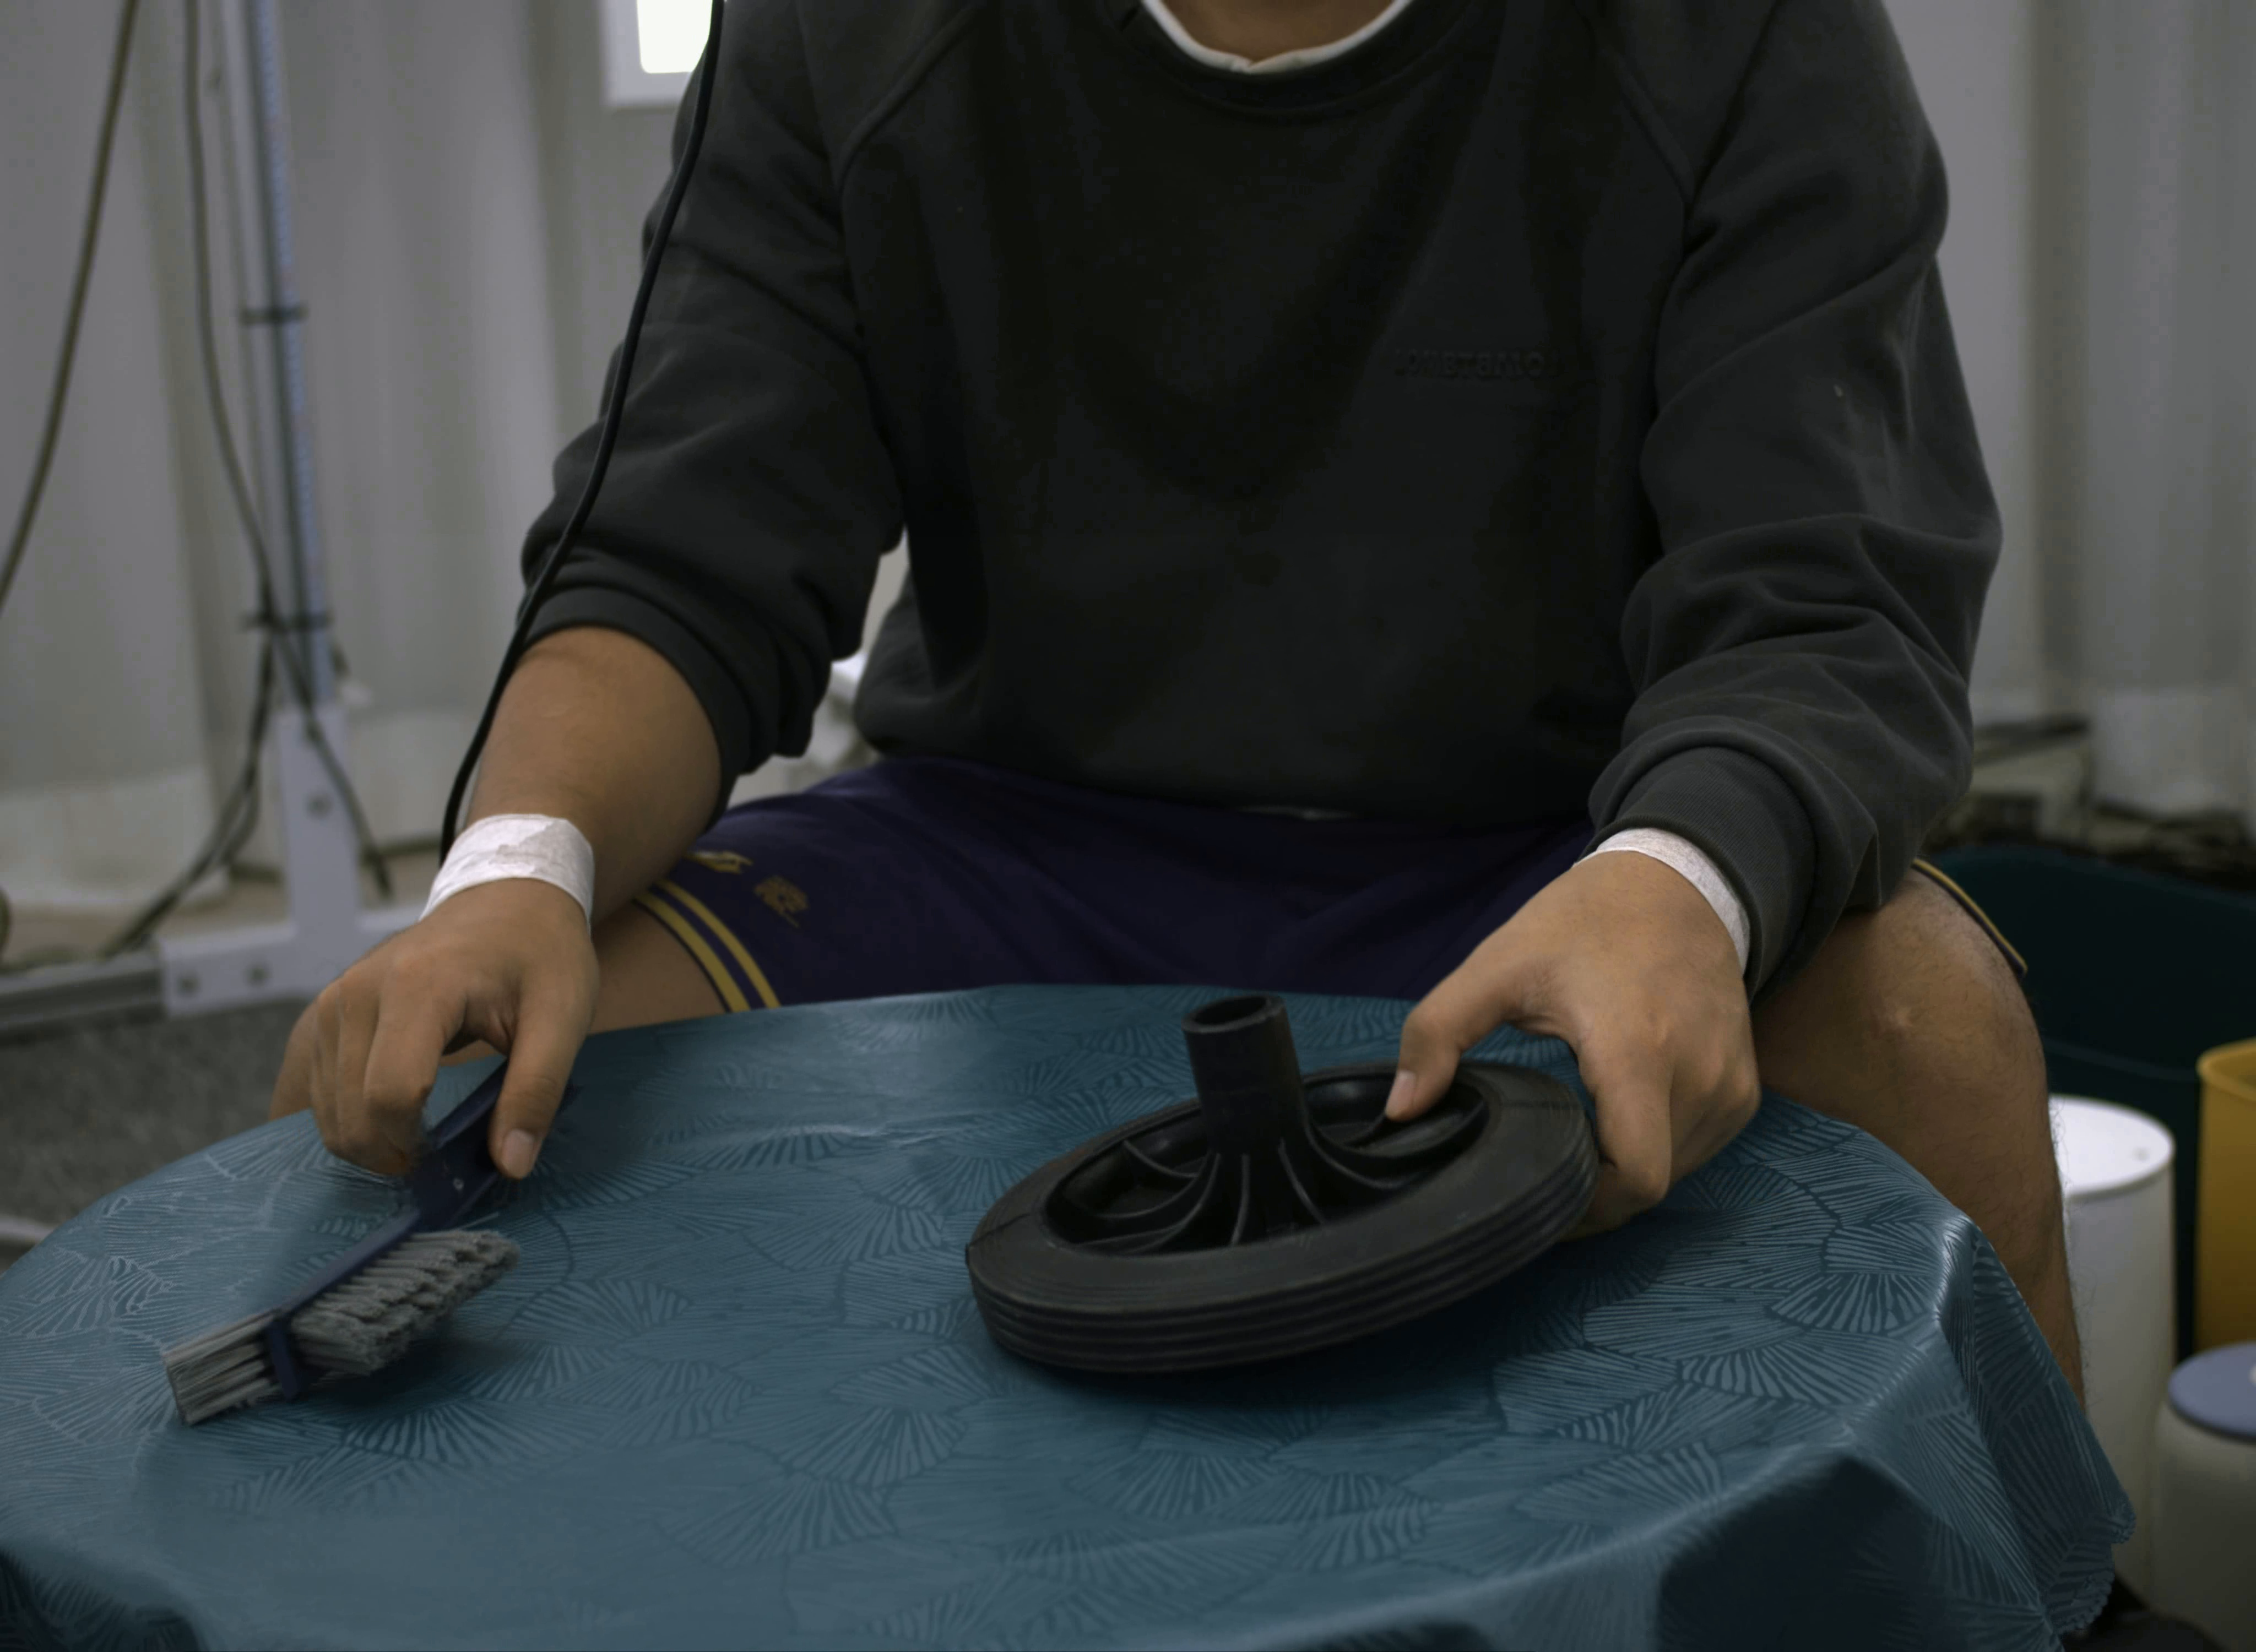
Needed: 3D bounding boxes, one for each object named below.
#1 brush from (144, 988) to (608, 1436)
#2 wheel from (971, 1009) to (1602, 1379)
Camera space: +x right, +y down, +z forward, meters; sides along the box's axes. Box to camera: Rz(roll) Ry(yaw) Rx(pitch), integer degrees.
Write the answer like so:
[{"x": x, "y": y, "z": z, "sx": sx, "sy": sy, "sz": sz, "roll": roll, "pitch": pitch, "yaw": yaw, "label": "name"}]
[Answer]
[{"x": -0.222, "y": 0.114, "z": 1.683, "sx": 0.095, "sy": 0.033, "sz": 0.275, "roll": -13, "pitch": 14, "yaw": 10, "label": "brush"}, {"x": 0.042, "y": 0.096, "z": 1.599, "sx": 0.188, "sy": 0.079, "sz": 0.190, "roll": -2, "pitch": 17, "yaw": 38, "label": "wheel"}]
